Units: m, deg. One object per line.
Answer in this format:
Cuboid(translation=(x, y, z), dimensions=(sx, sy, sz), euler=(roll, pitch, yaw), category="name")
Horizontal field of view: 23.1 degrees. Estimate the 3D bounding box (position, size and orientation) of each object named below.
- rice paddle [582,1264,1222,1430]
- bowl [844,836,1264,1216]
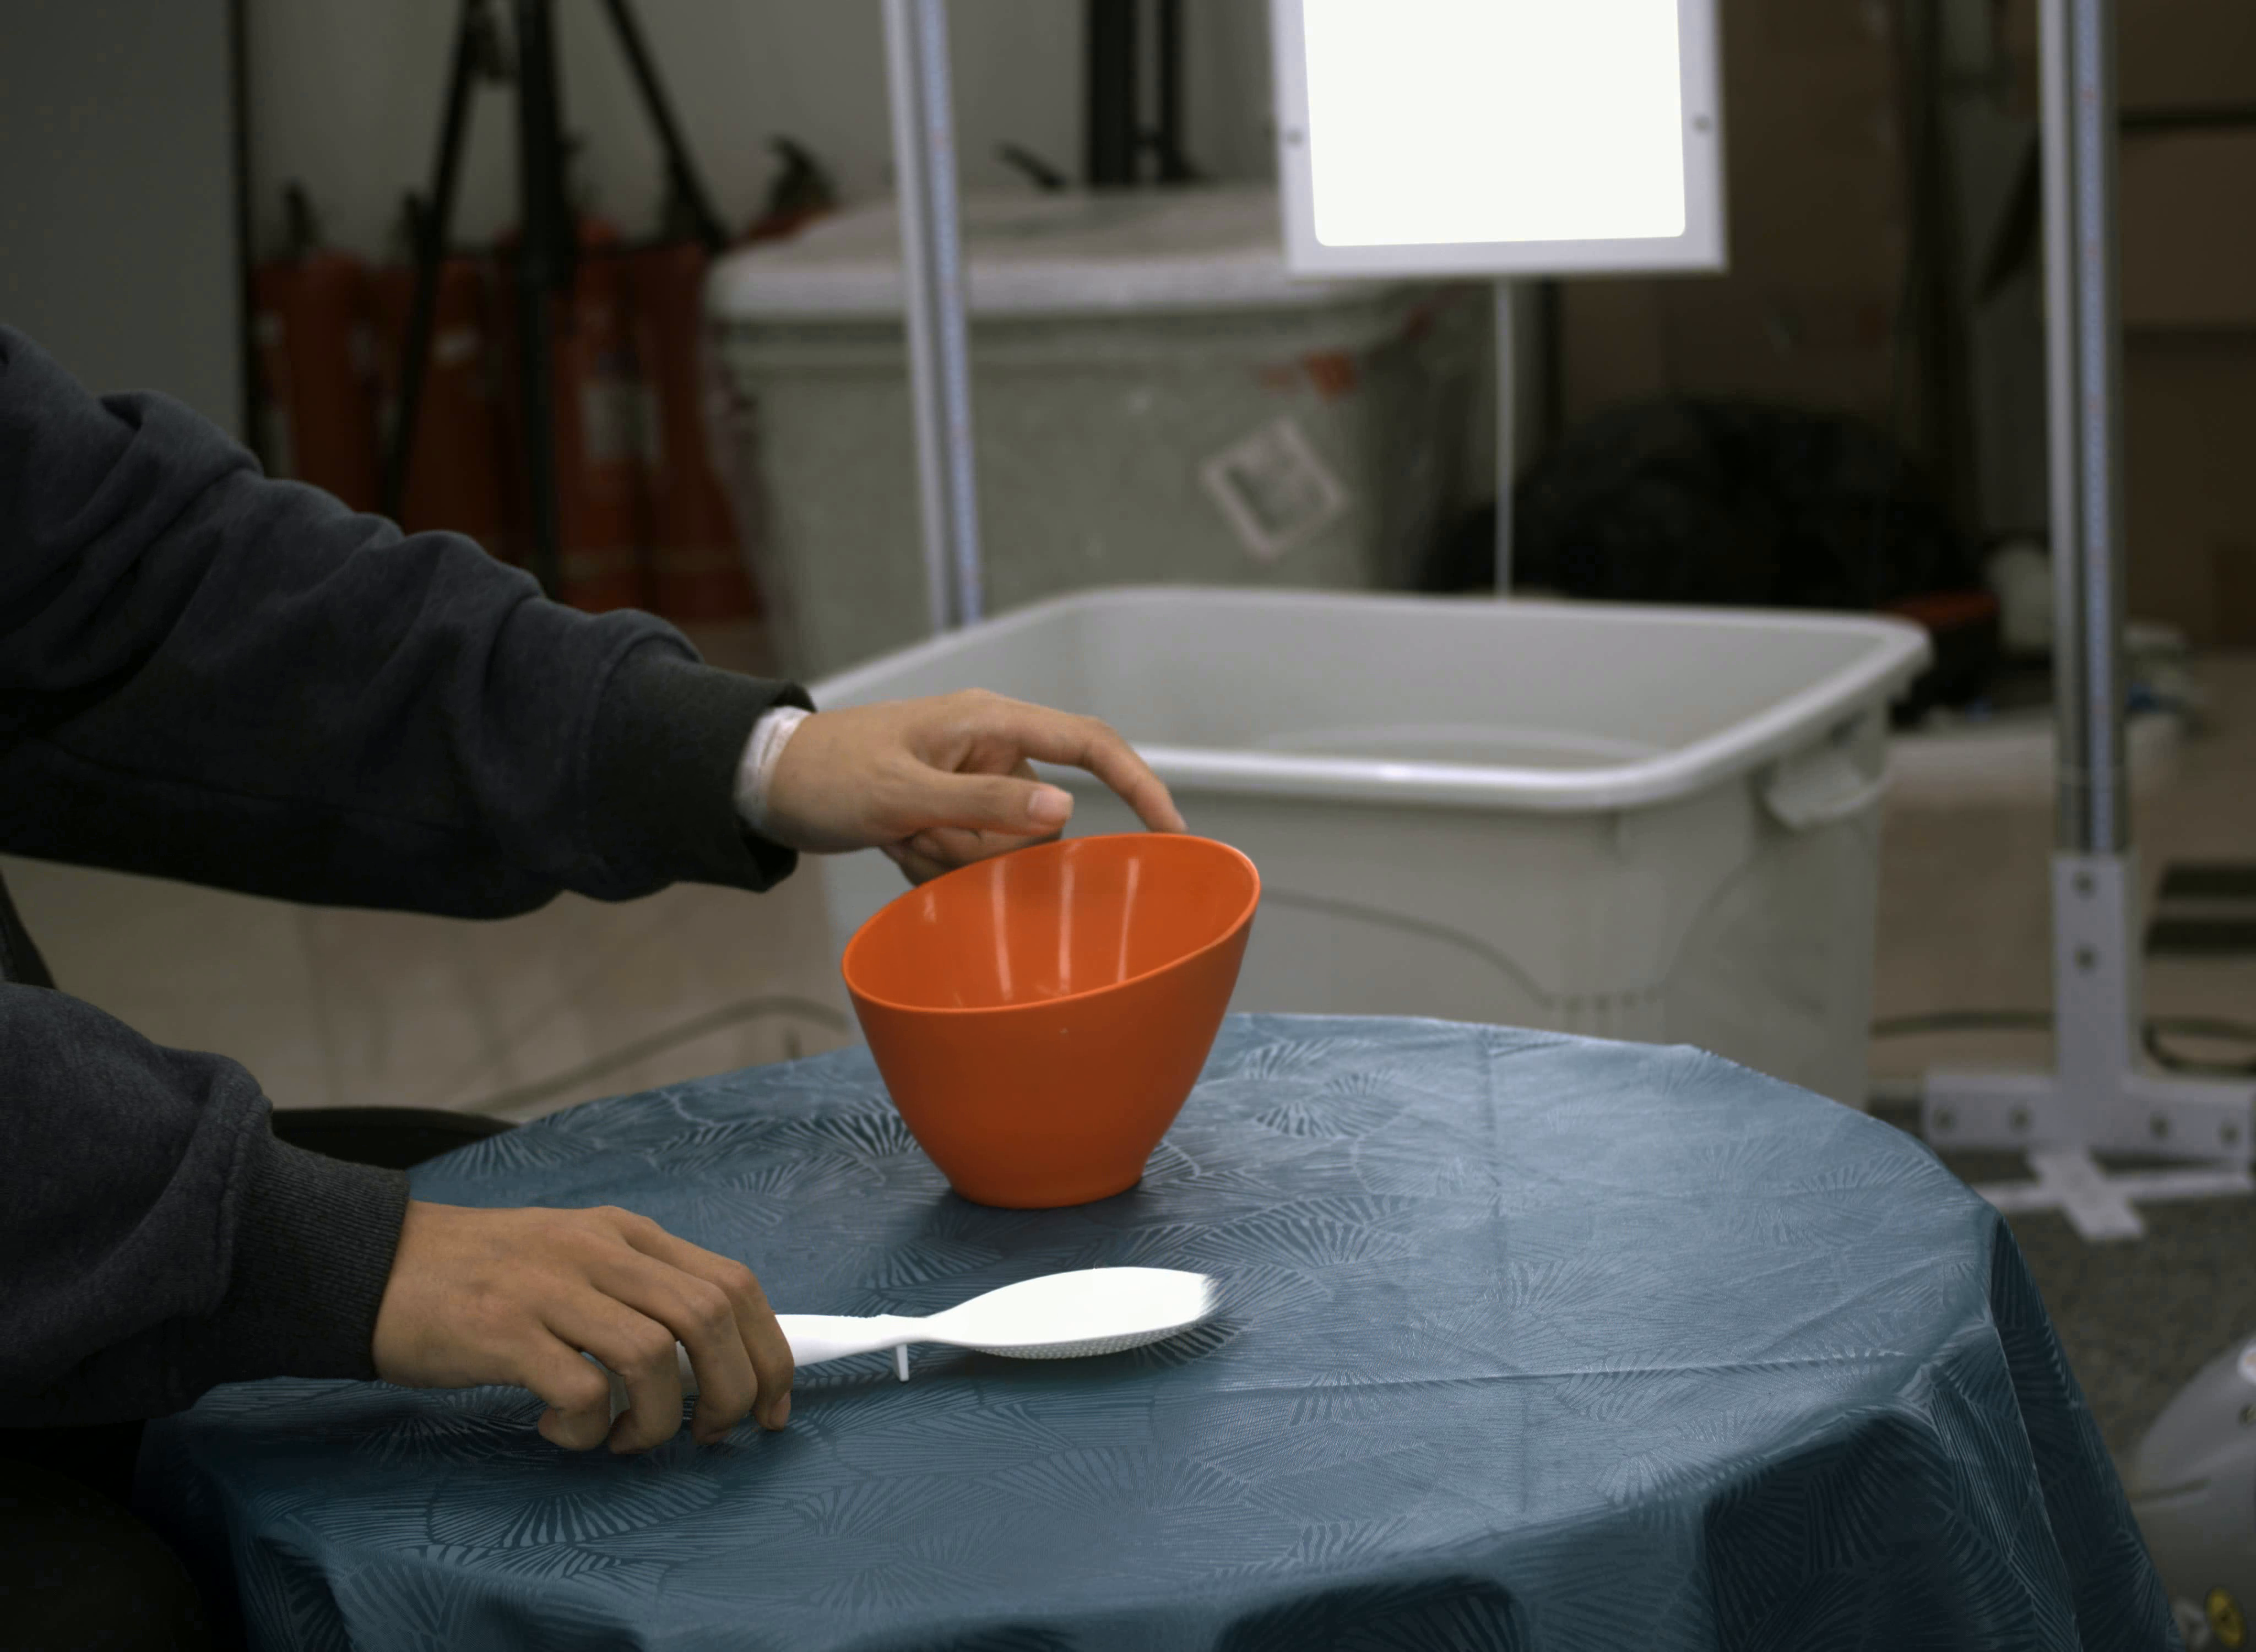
Cuboid(translation=(-0.069, 0.158, 1.731), dimensions=(0.202, 0.029, 0.069), euler=(-8, 15, -12), category="rice paddle")
Cuboid(translation=(-0.022, 0.073, 1.912), dimensions=(0.147, 0.105, 0.148), euler=(-5, 16, 0), category="bowl")
